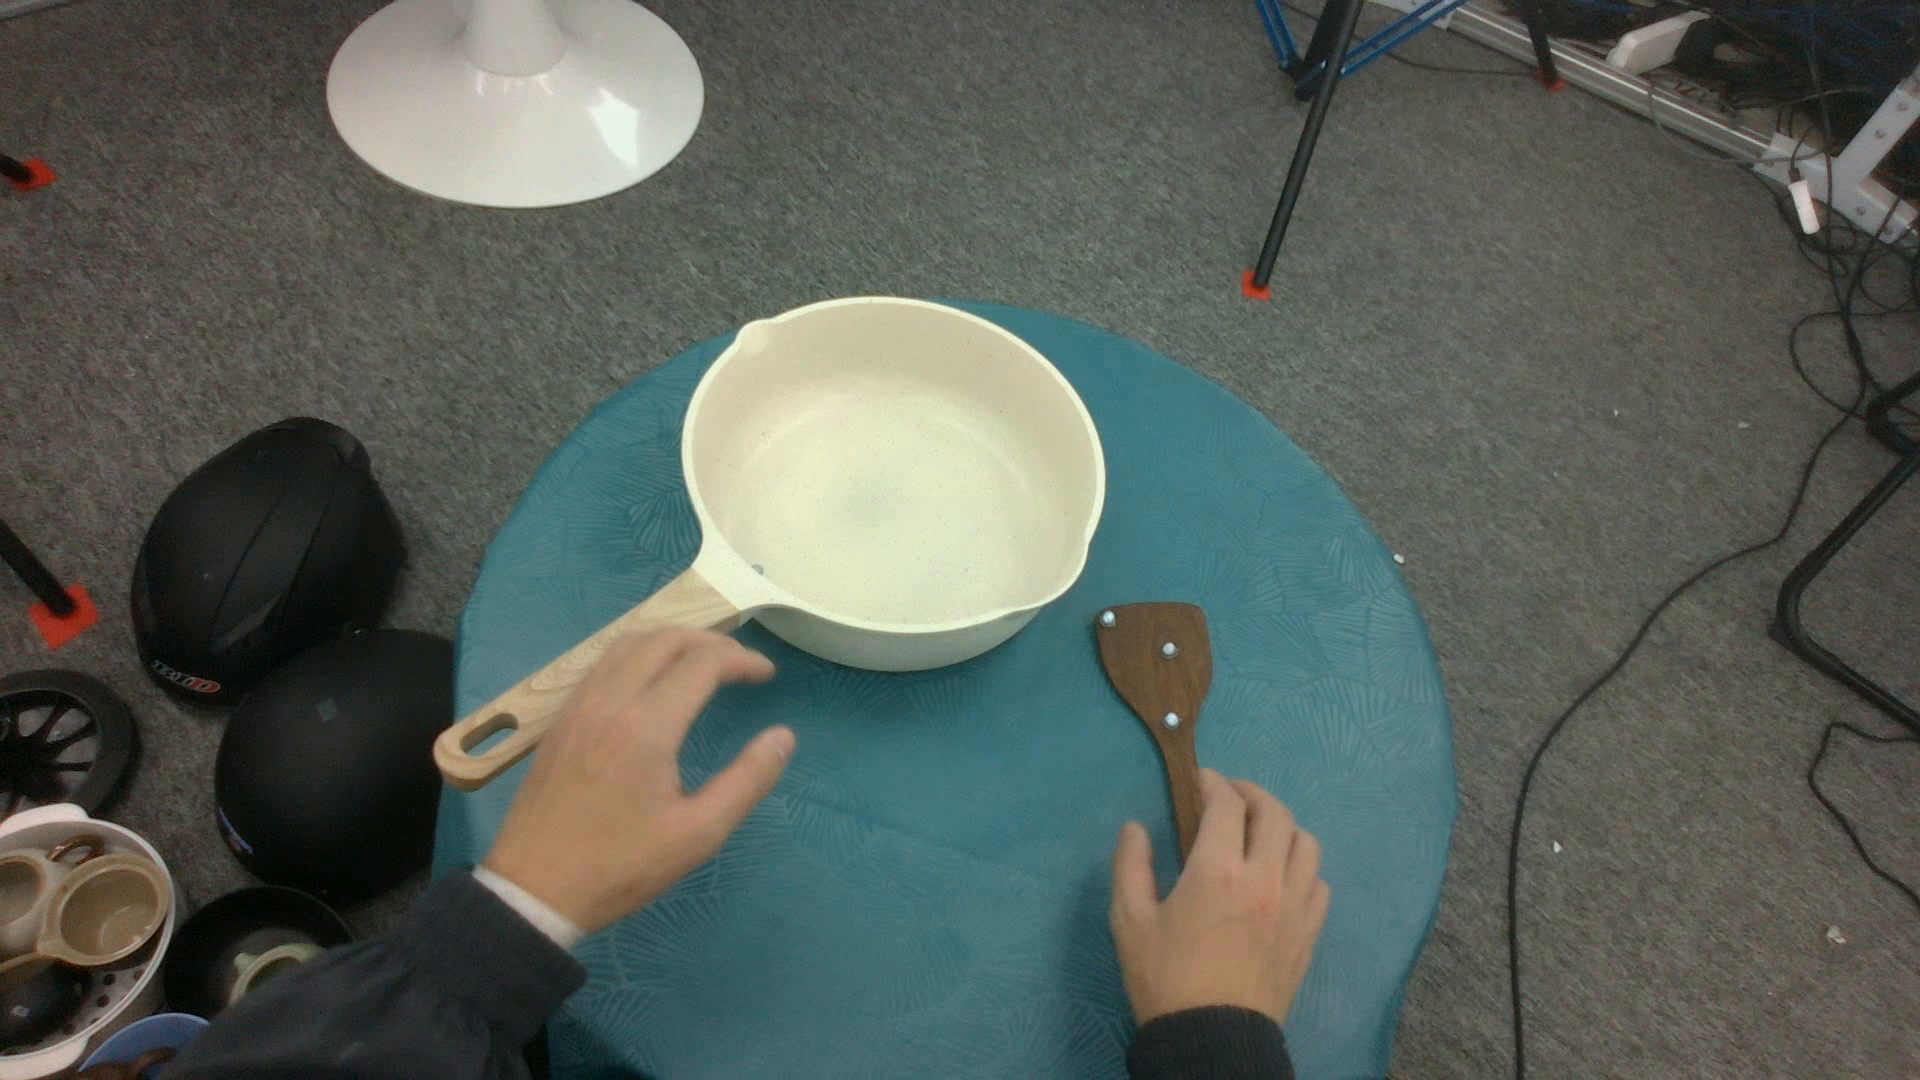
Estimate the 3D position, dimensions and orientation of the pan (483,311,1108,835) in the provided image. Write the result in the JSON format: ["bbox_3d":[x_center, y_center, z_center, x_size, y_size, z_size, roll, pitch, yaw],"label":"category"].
[{"bbox_3d":[-0.095,0.027,0.807,0.263,0.101,0.437,37,58,17],"label":"pan"}]

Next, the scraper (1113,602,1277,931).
[{"bbox_3d":[0.147,0.129,0.818,0.076,0.011,0.212,-4,55,-9],"label":"scraper"}]
